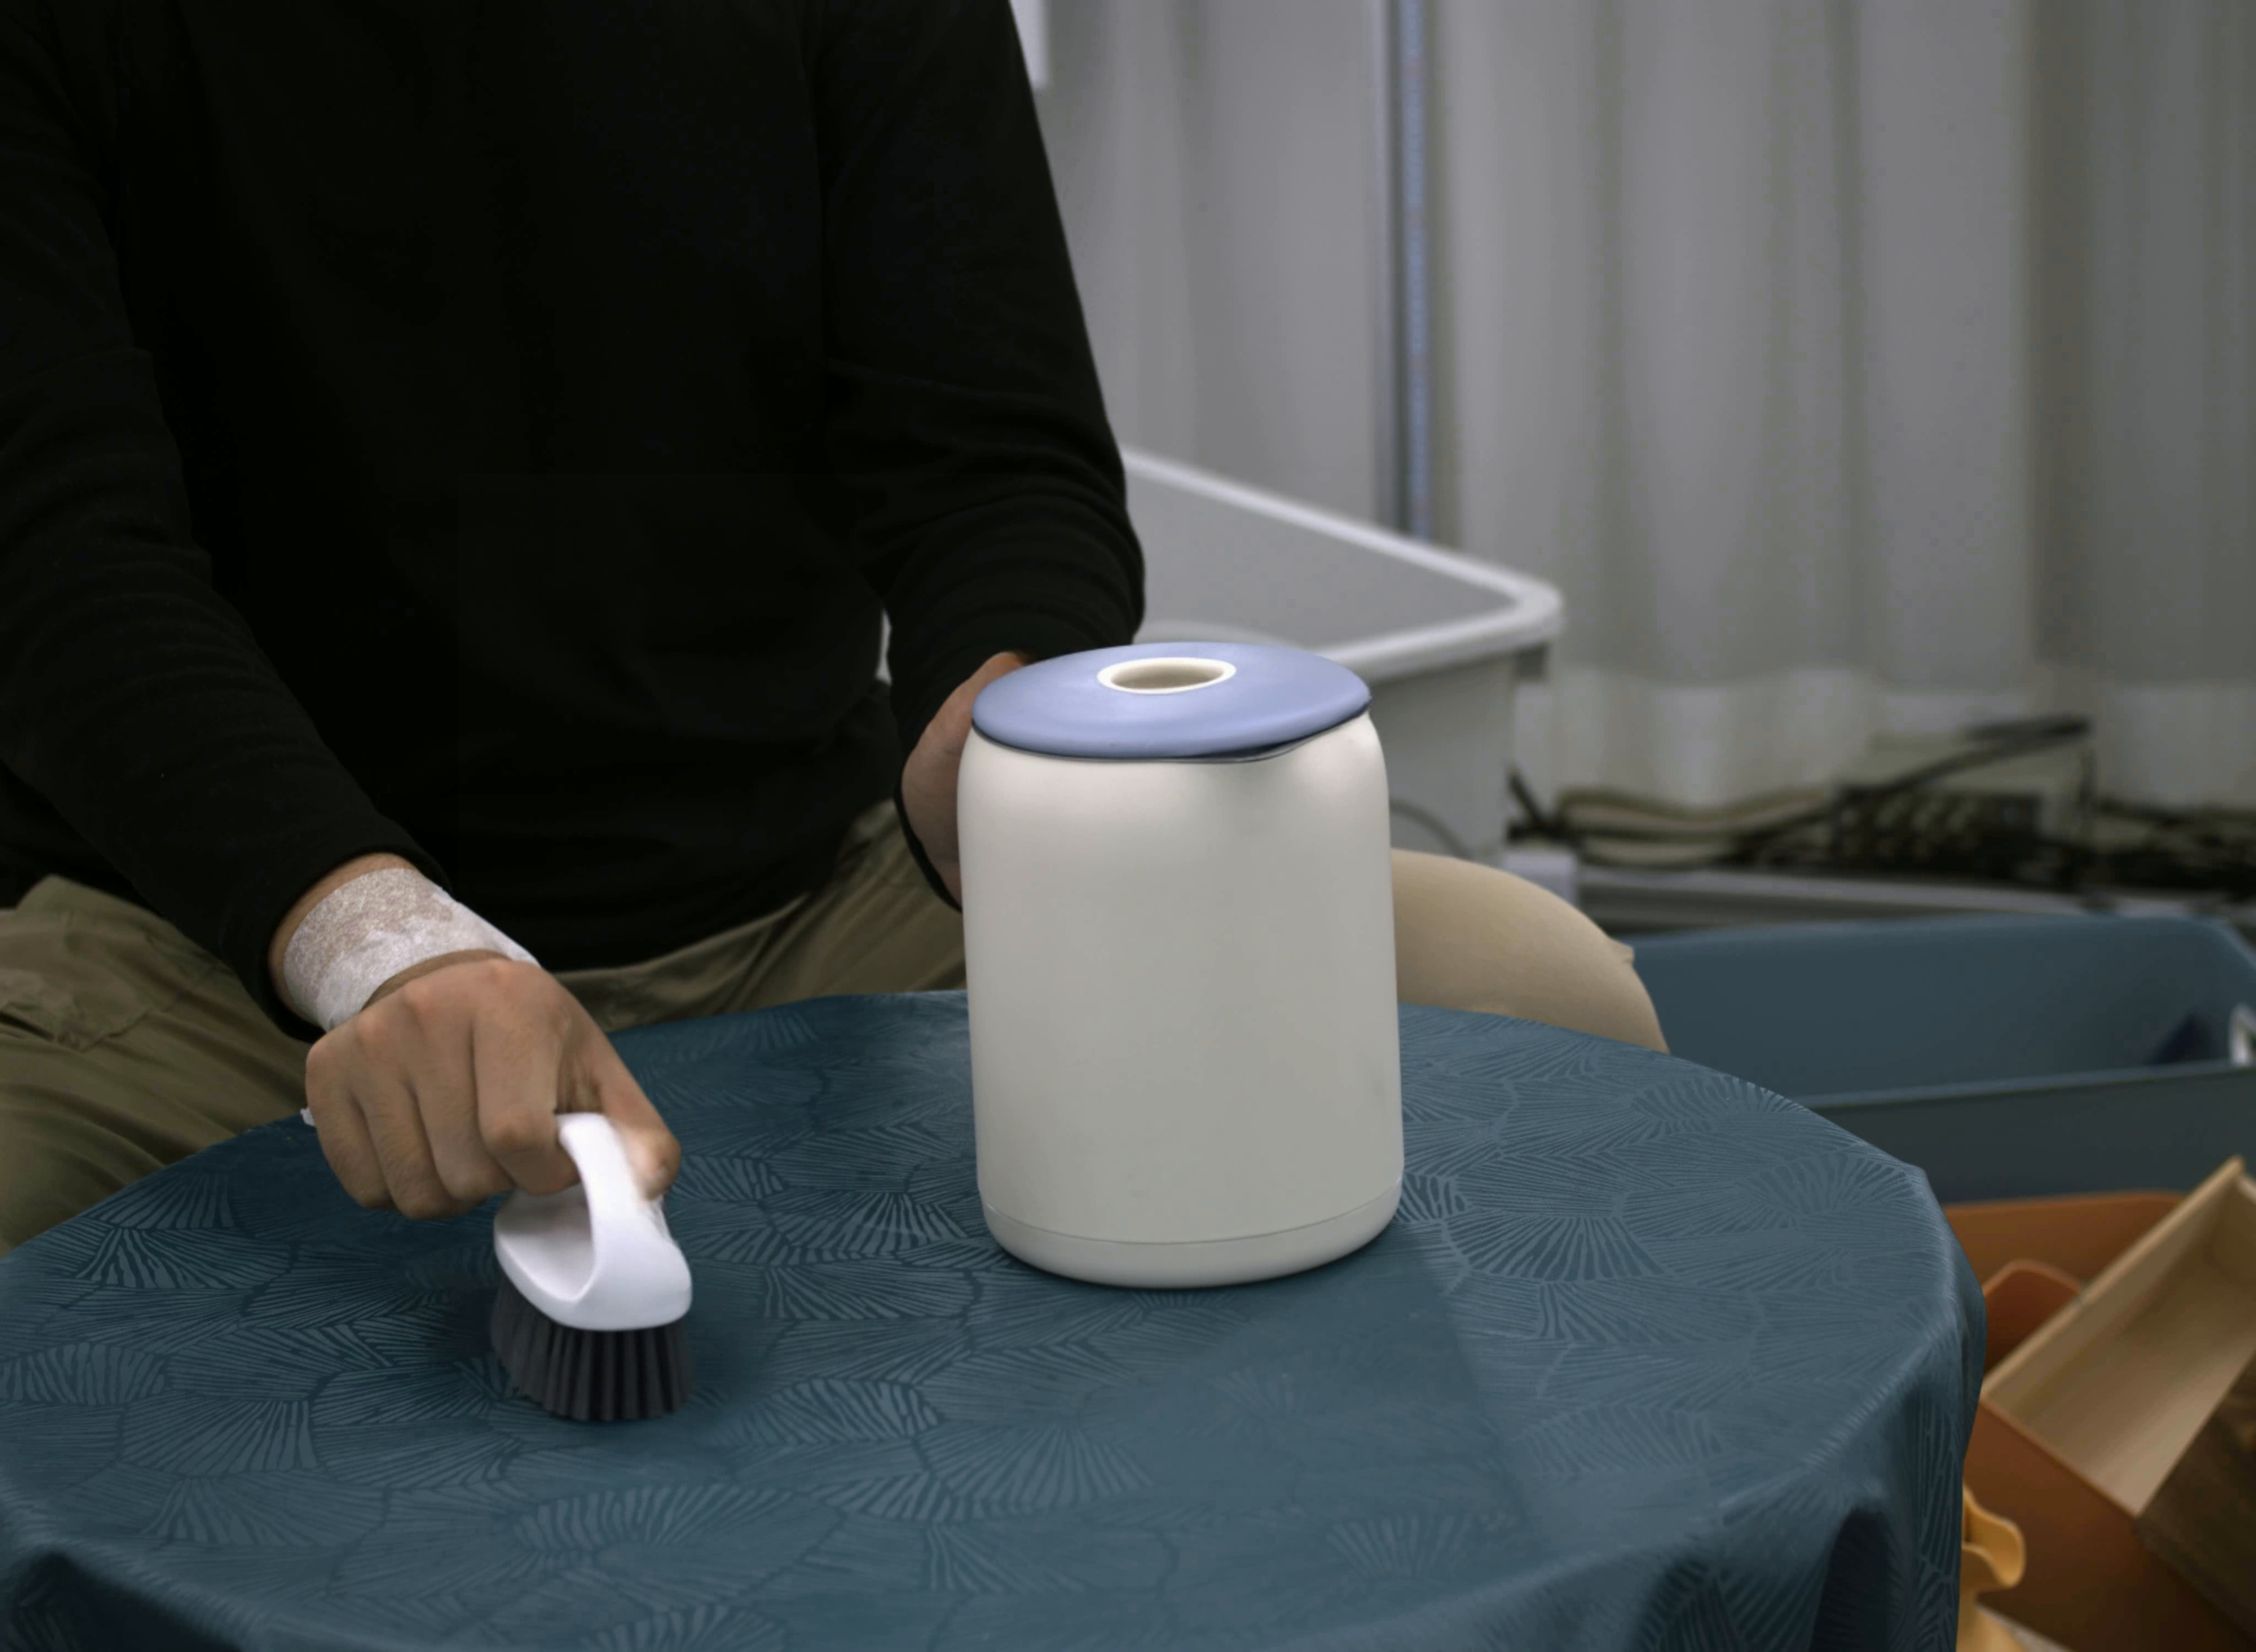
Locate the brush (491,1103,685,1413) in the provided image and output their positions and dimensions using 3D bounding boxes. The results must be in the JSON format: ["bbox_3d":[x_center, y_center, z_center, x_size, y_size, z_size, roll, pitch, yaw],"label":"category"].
[{"bbox_3d":[-0.156,0.119,1.575,0.050,0.072,0.100,-2,16,-15],"label":"brush"}]

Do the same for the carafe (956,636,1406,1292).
[{"bbox_3d":[0.006,0.035,1.681,0.131,0.182,0.192,-8,14,-22],"label":"carafe"}]
